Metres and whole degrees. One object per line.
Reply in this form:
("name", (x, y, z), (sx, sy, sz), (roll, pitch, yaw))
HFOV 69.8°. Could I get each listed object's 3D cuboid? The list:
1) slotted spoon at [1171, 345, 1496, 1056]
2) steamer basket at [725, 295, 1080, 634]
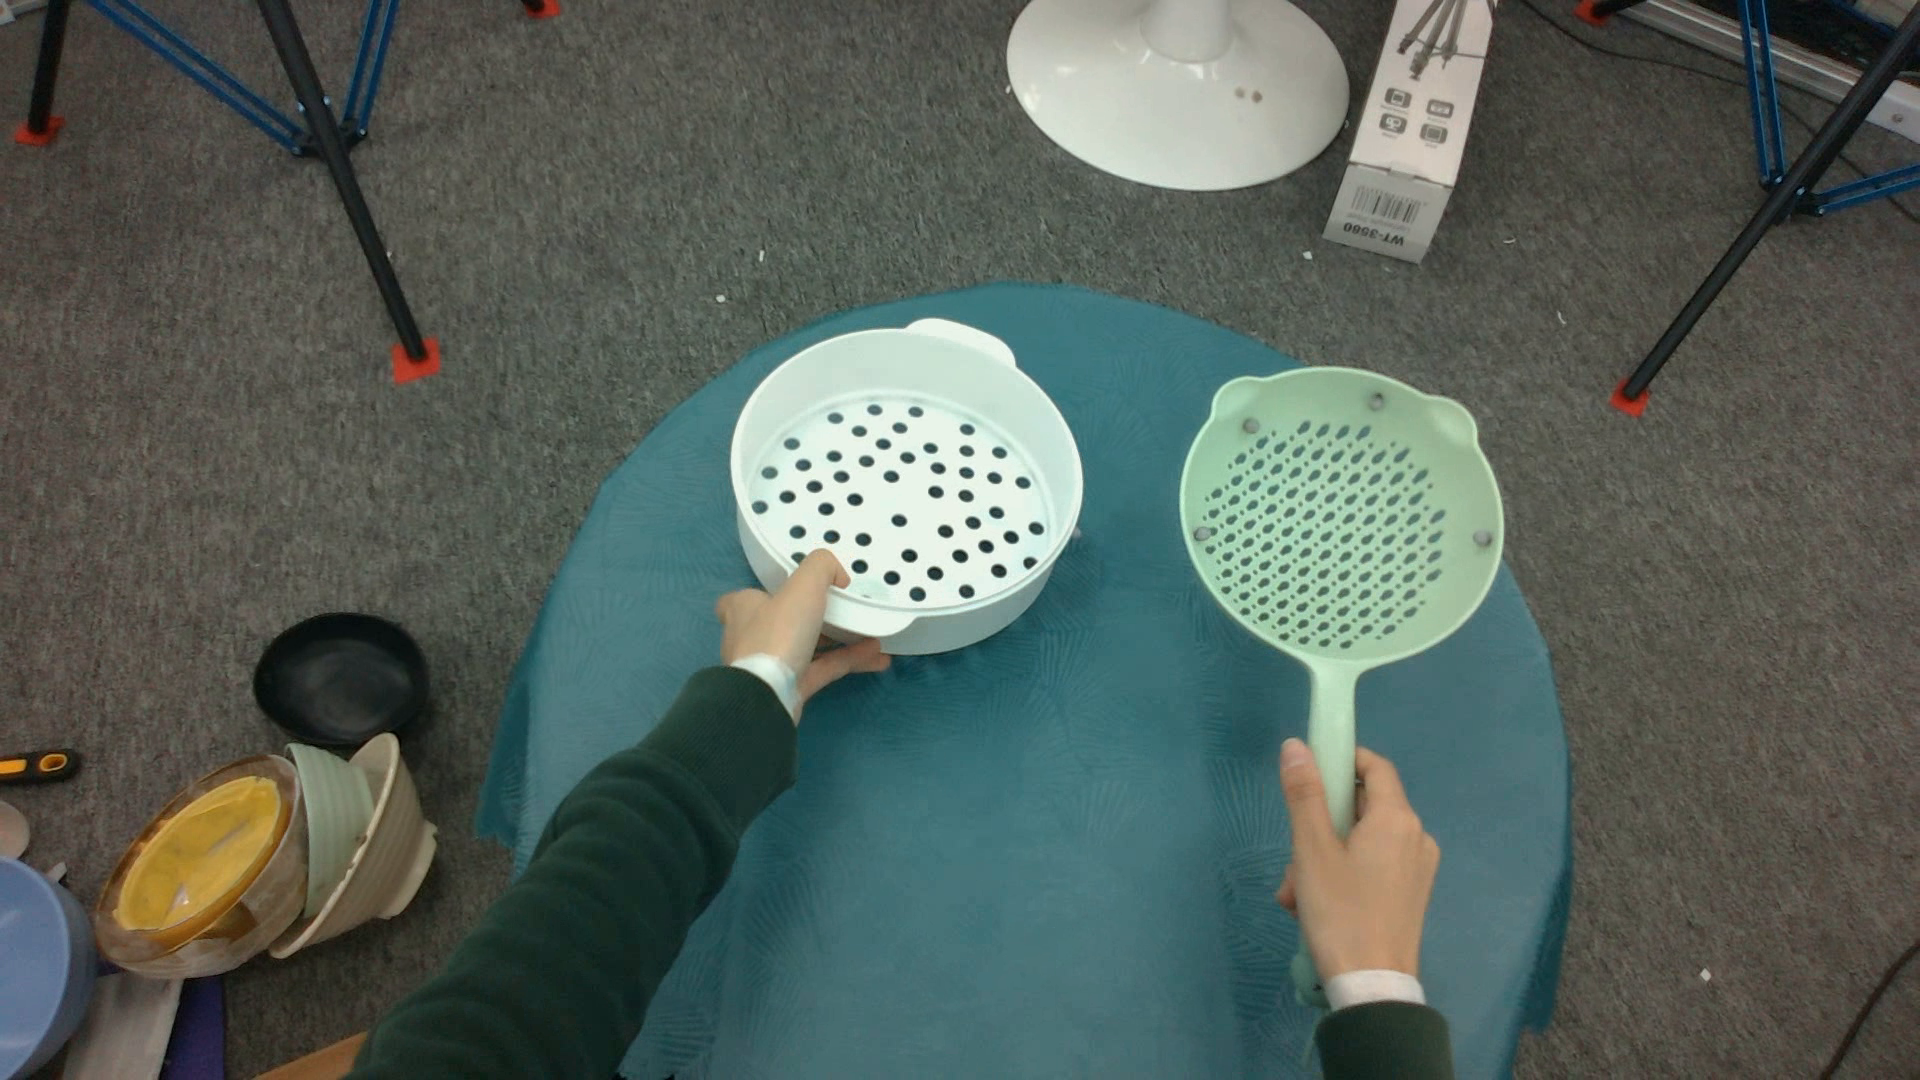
("slotted spoon", (0.185, 0.068, 0.699), (0.169, 0.075, 0.360), (5, 62, 5))
("steamer basket", (-0.035, -0.040, 0.801), (0.202, 0.069, 0.232), (18, 56, 2))
